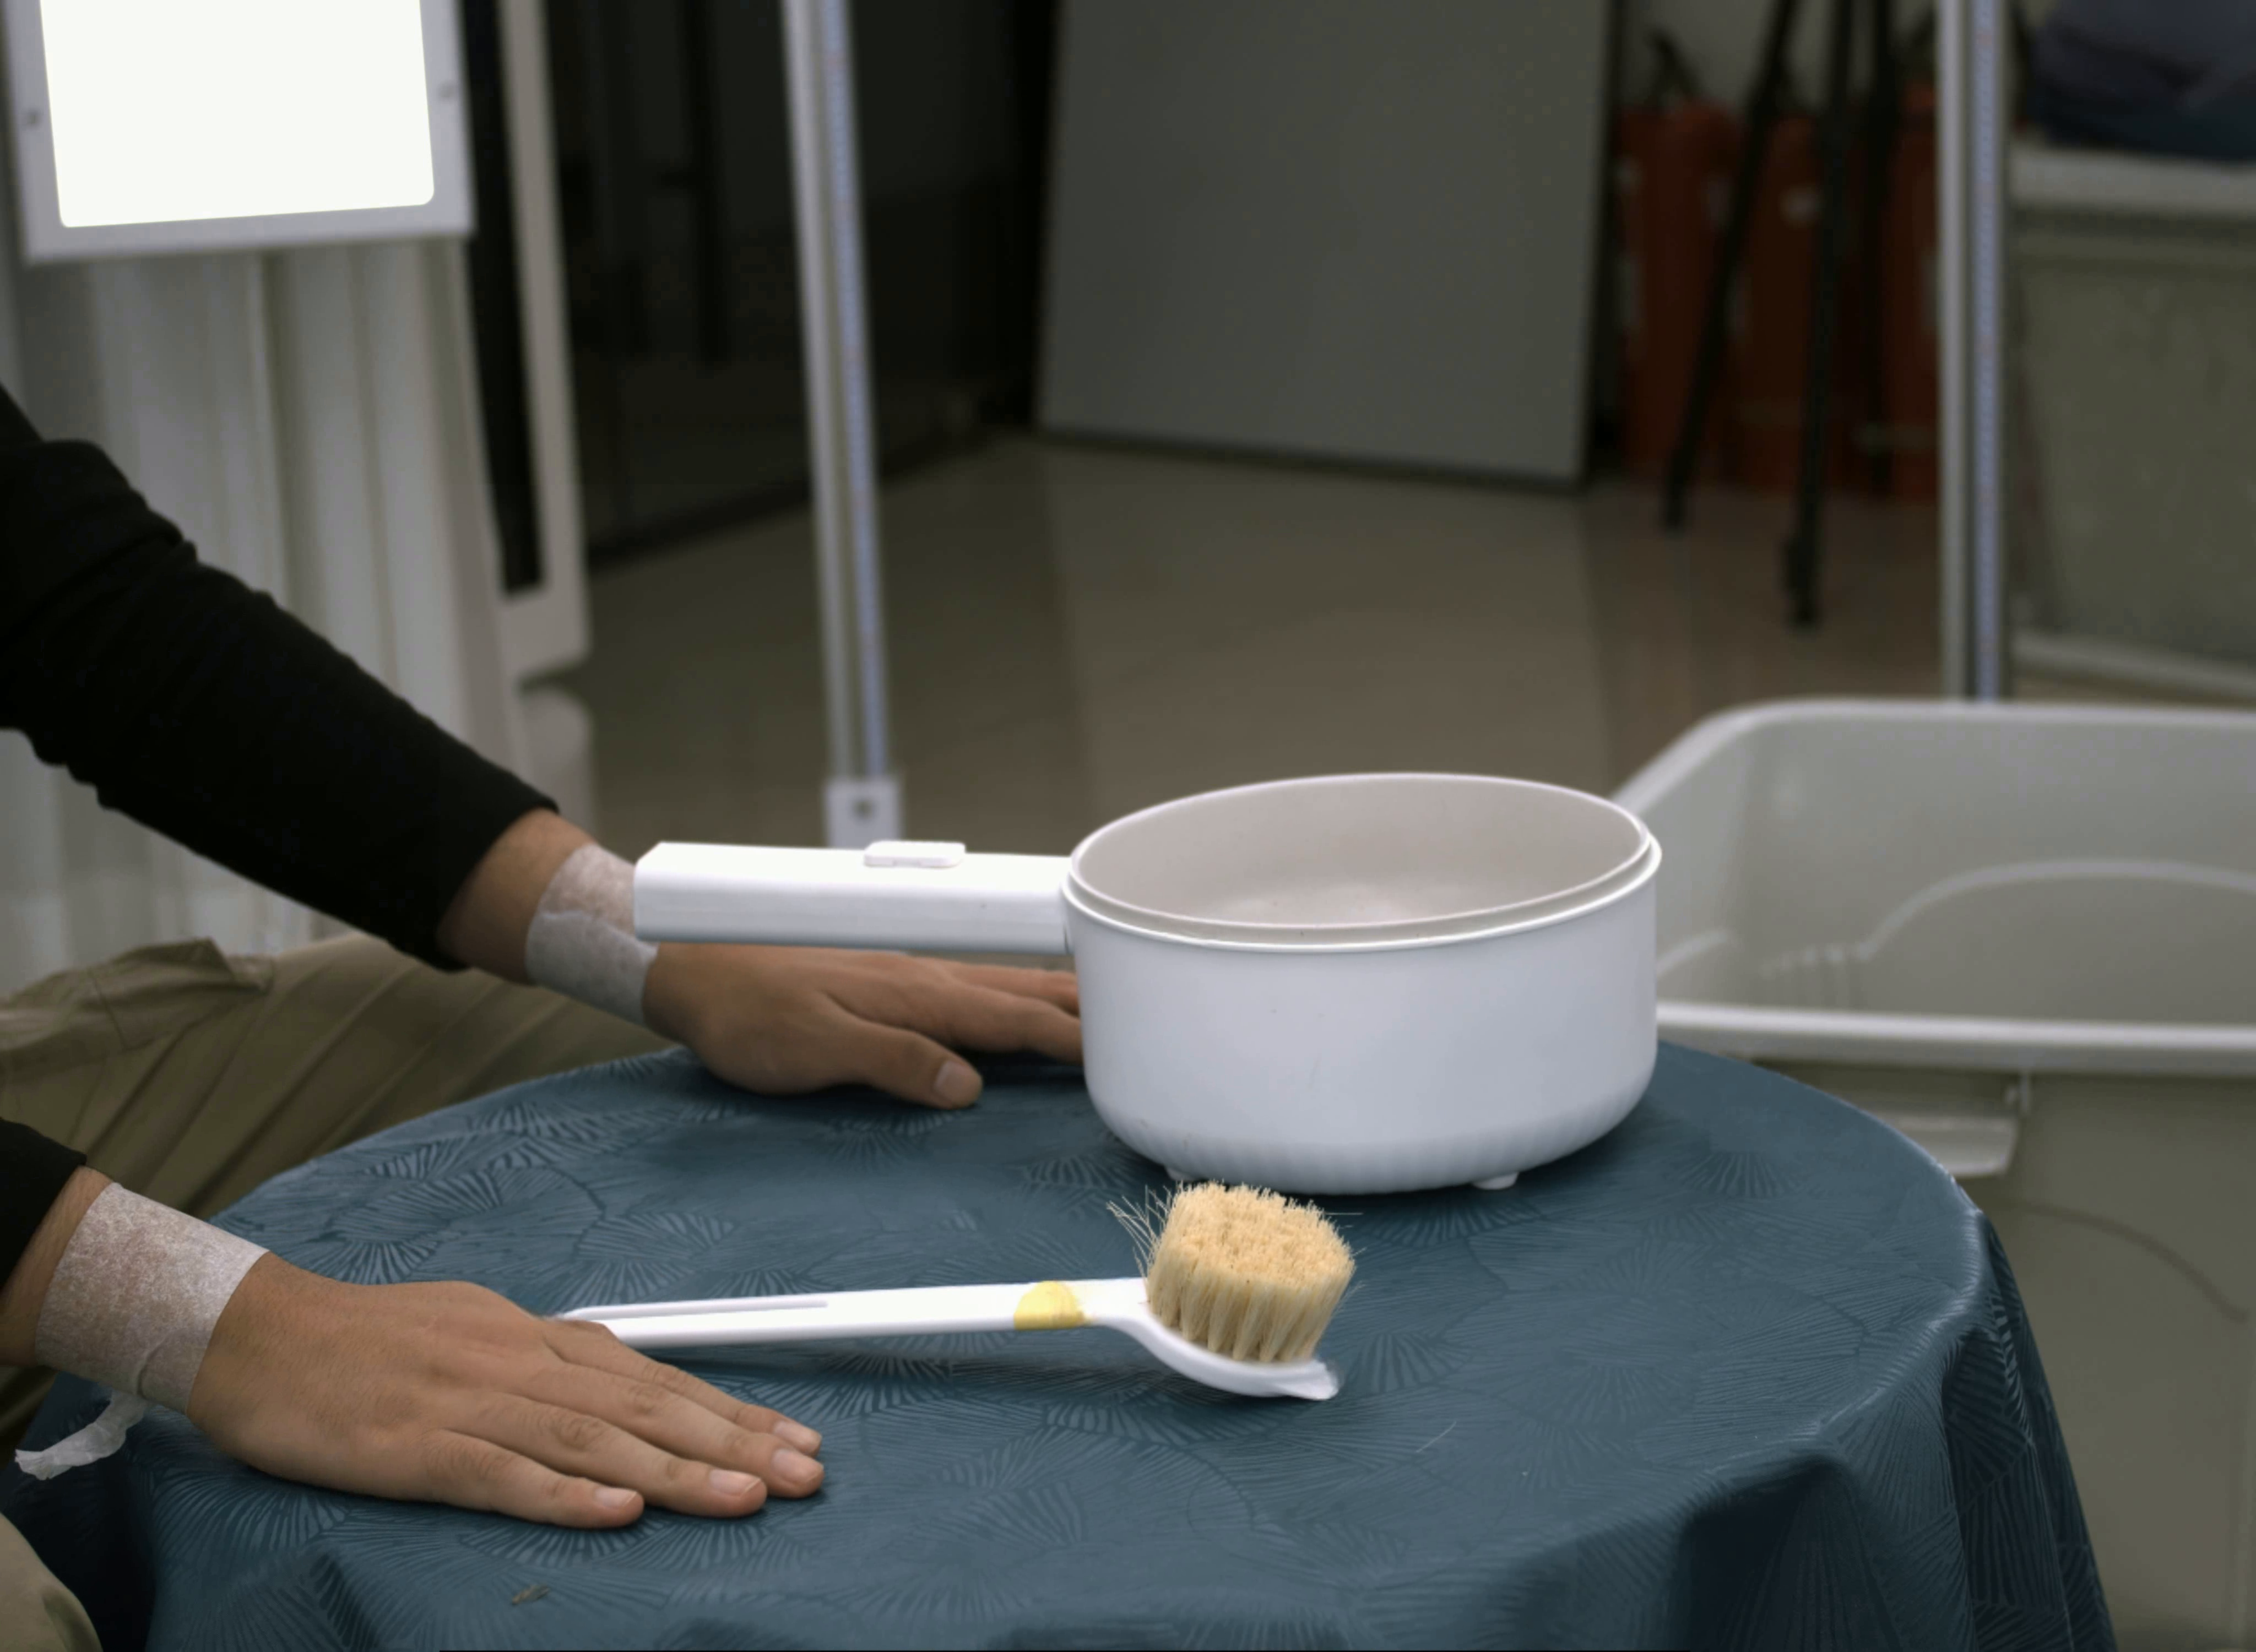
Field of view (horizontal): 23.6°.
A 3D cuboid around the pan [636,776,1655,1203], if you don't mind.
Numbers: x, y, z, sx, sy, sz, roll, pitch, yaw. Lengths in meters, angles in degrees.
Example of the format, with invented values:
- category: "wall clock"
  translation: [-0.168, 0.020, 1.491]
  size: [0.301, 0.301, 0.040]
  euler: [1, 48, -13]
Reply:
- category: "pan"
  translation: [0.006, 0.057, 1.824]
  size: [0.353, 0.103, 0.200]
  euler: [-1, 15, 17]

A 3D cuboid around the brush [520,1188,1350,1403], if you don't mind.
- category: "brush"
  translation: [-0.062, 0.138, 1.608]
  size: [0.266, 0.057, 0.068]
  euler: [0, 10, 21]
